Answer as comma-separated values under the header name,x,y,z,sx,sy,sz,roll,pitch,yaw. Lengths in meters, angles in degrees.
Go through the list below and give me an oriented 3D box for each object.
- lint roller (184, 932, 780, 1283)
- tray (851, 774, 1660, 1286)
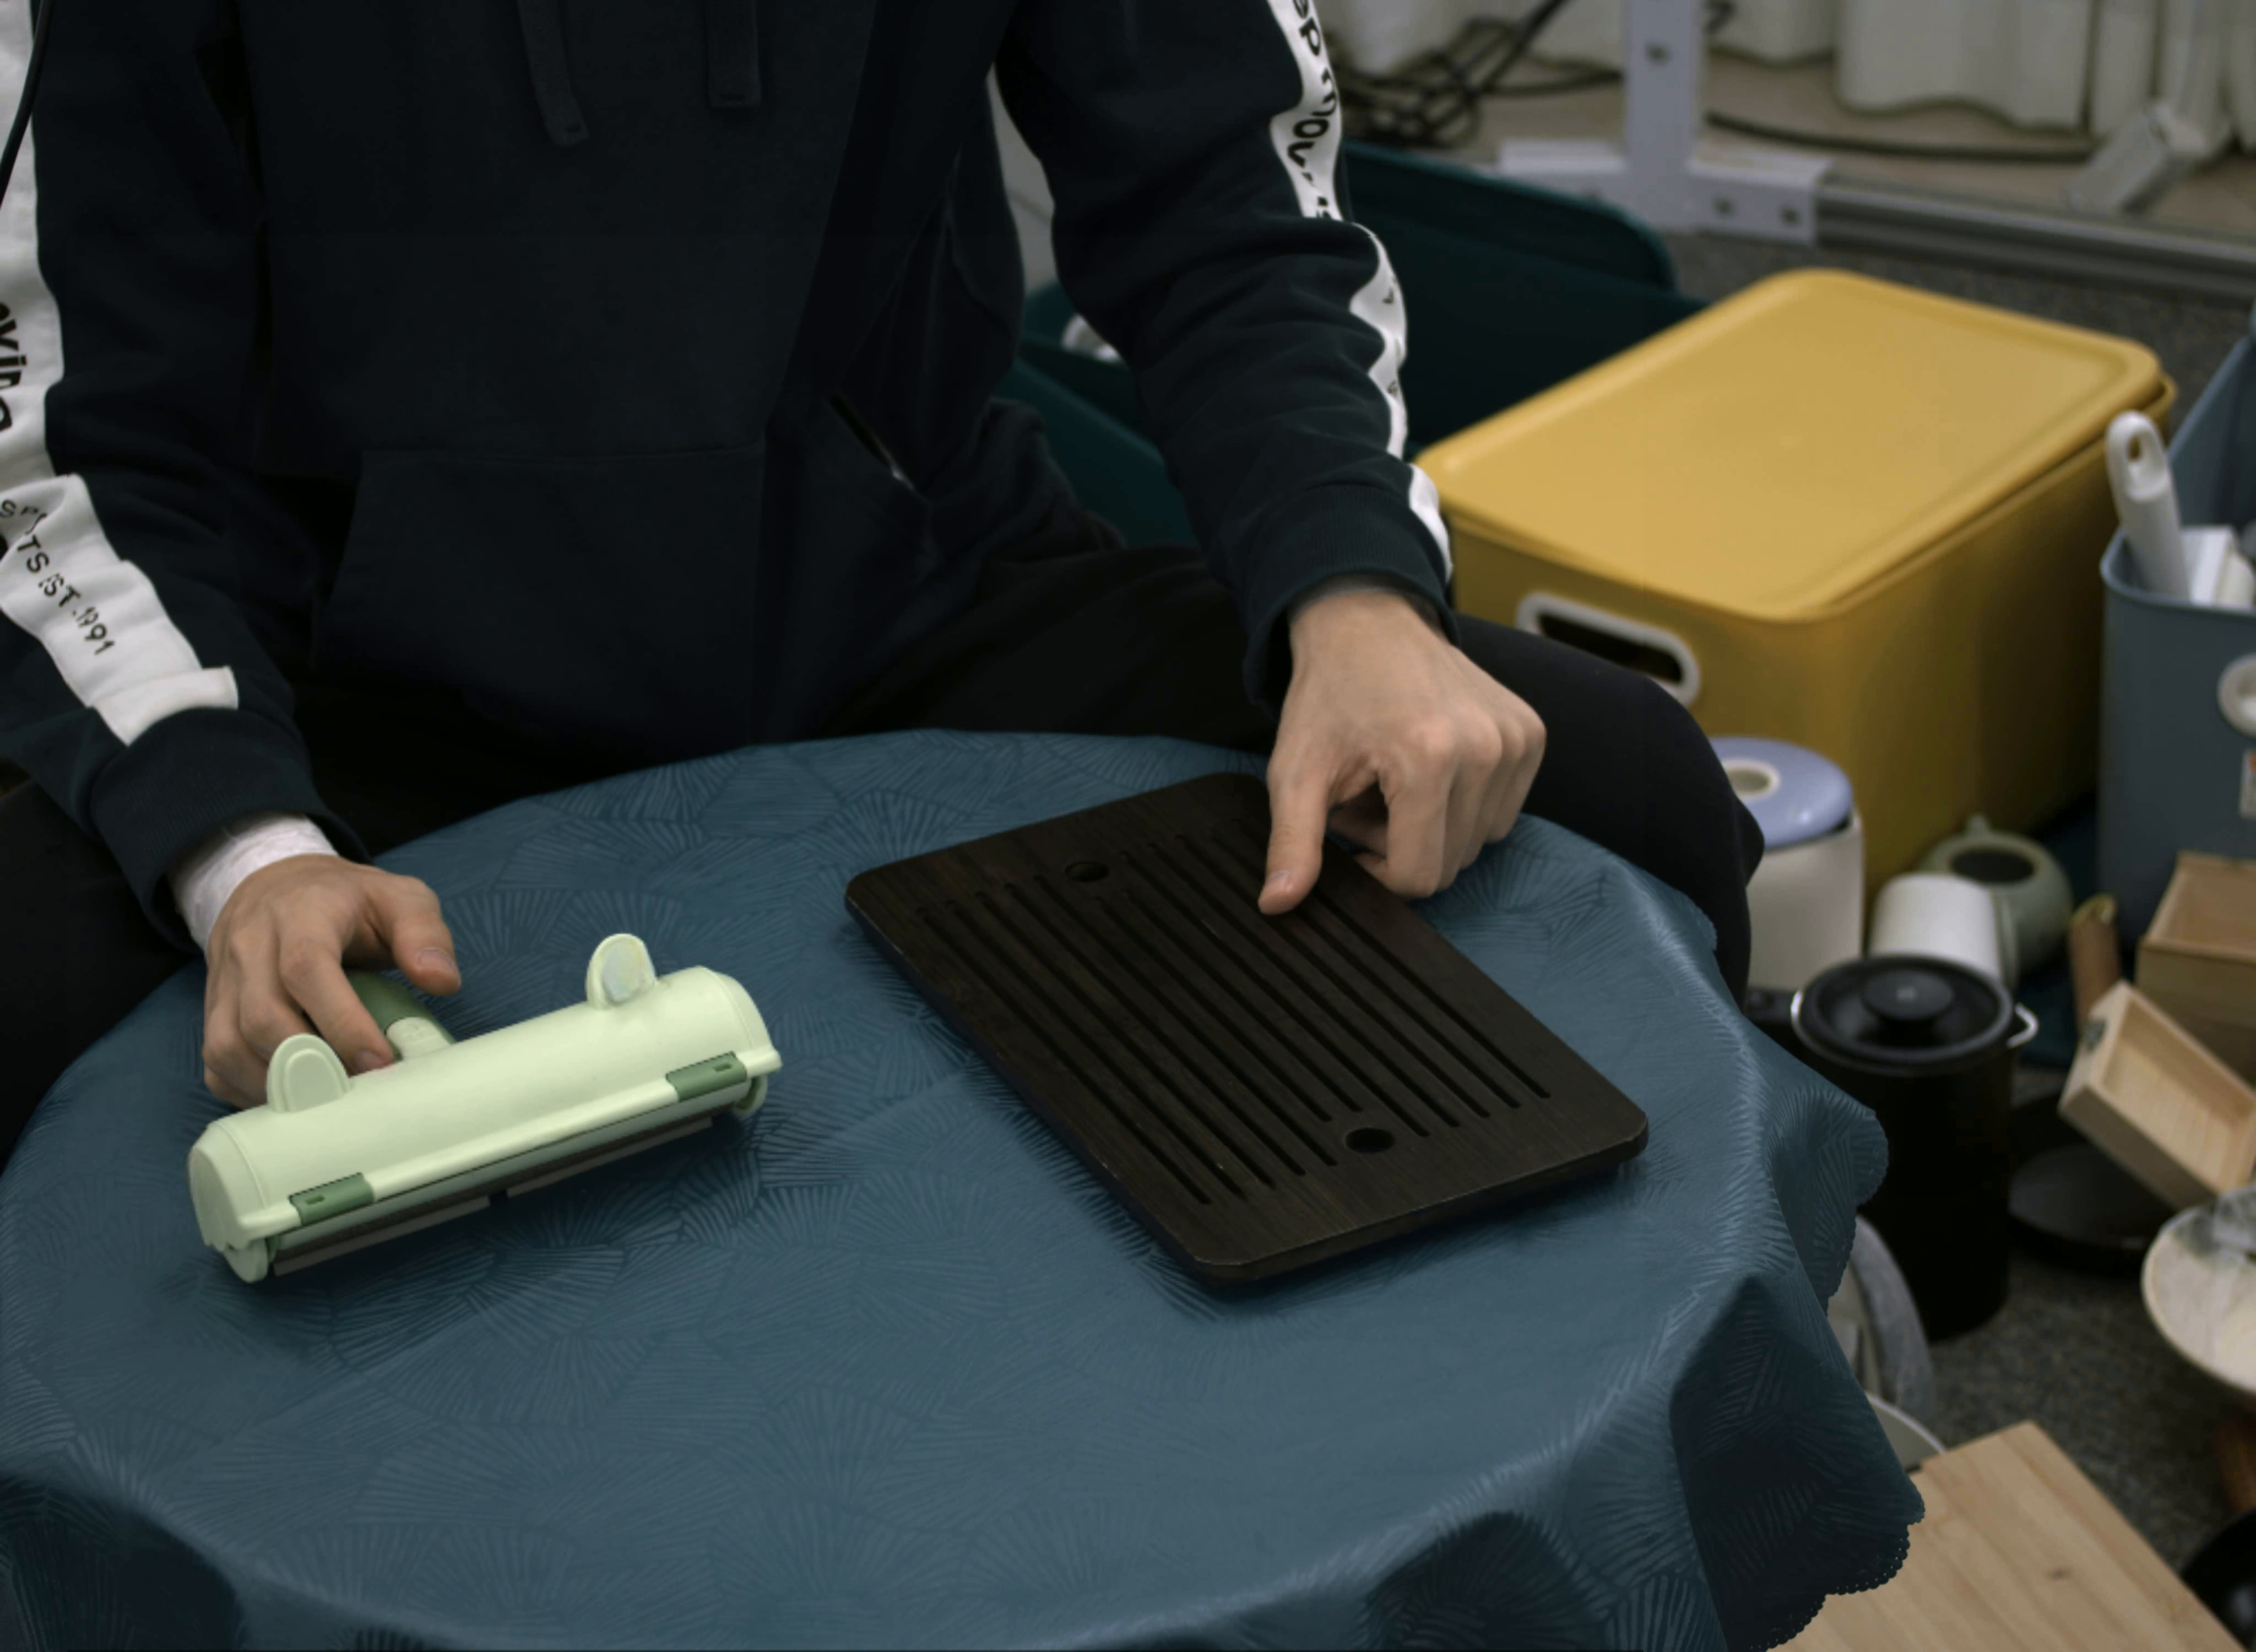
name,x,y,z,sx,sy,sz,roll,pitch,yaw
lint roller,-0.242,0.069,1.900,0.200,0.081,0.184,-18,34,-26
tray,0.038,0.067,1.942,0.171,0.018,0.308,-15,30,-22
